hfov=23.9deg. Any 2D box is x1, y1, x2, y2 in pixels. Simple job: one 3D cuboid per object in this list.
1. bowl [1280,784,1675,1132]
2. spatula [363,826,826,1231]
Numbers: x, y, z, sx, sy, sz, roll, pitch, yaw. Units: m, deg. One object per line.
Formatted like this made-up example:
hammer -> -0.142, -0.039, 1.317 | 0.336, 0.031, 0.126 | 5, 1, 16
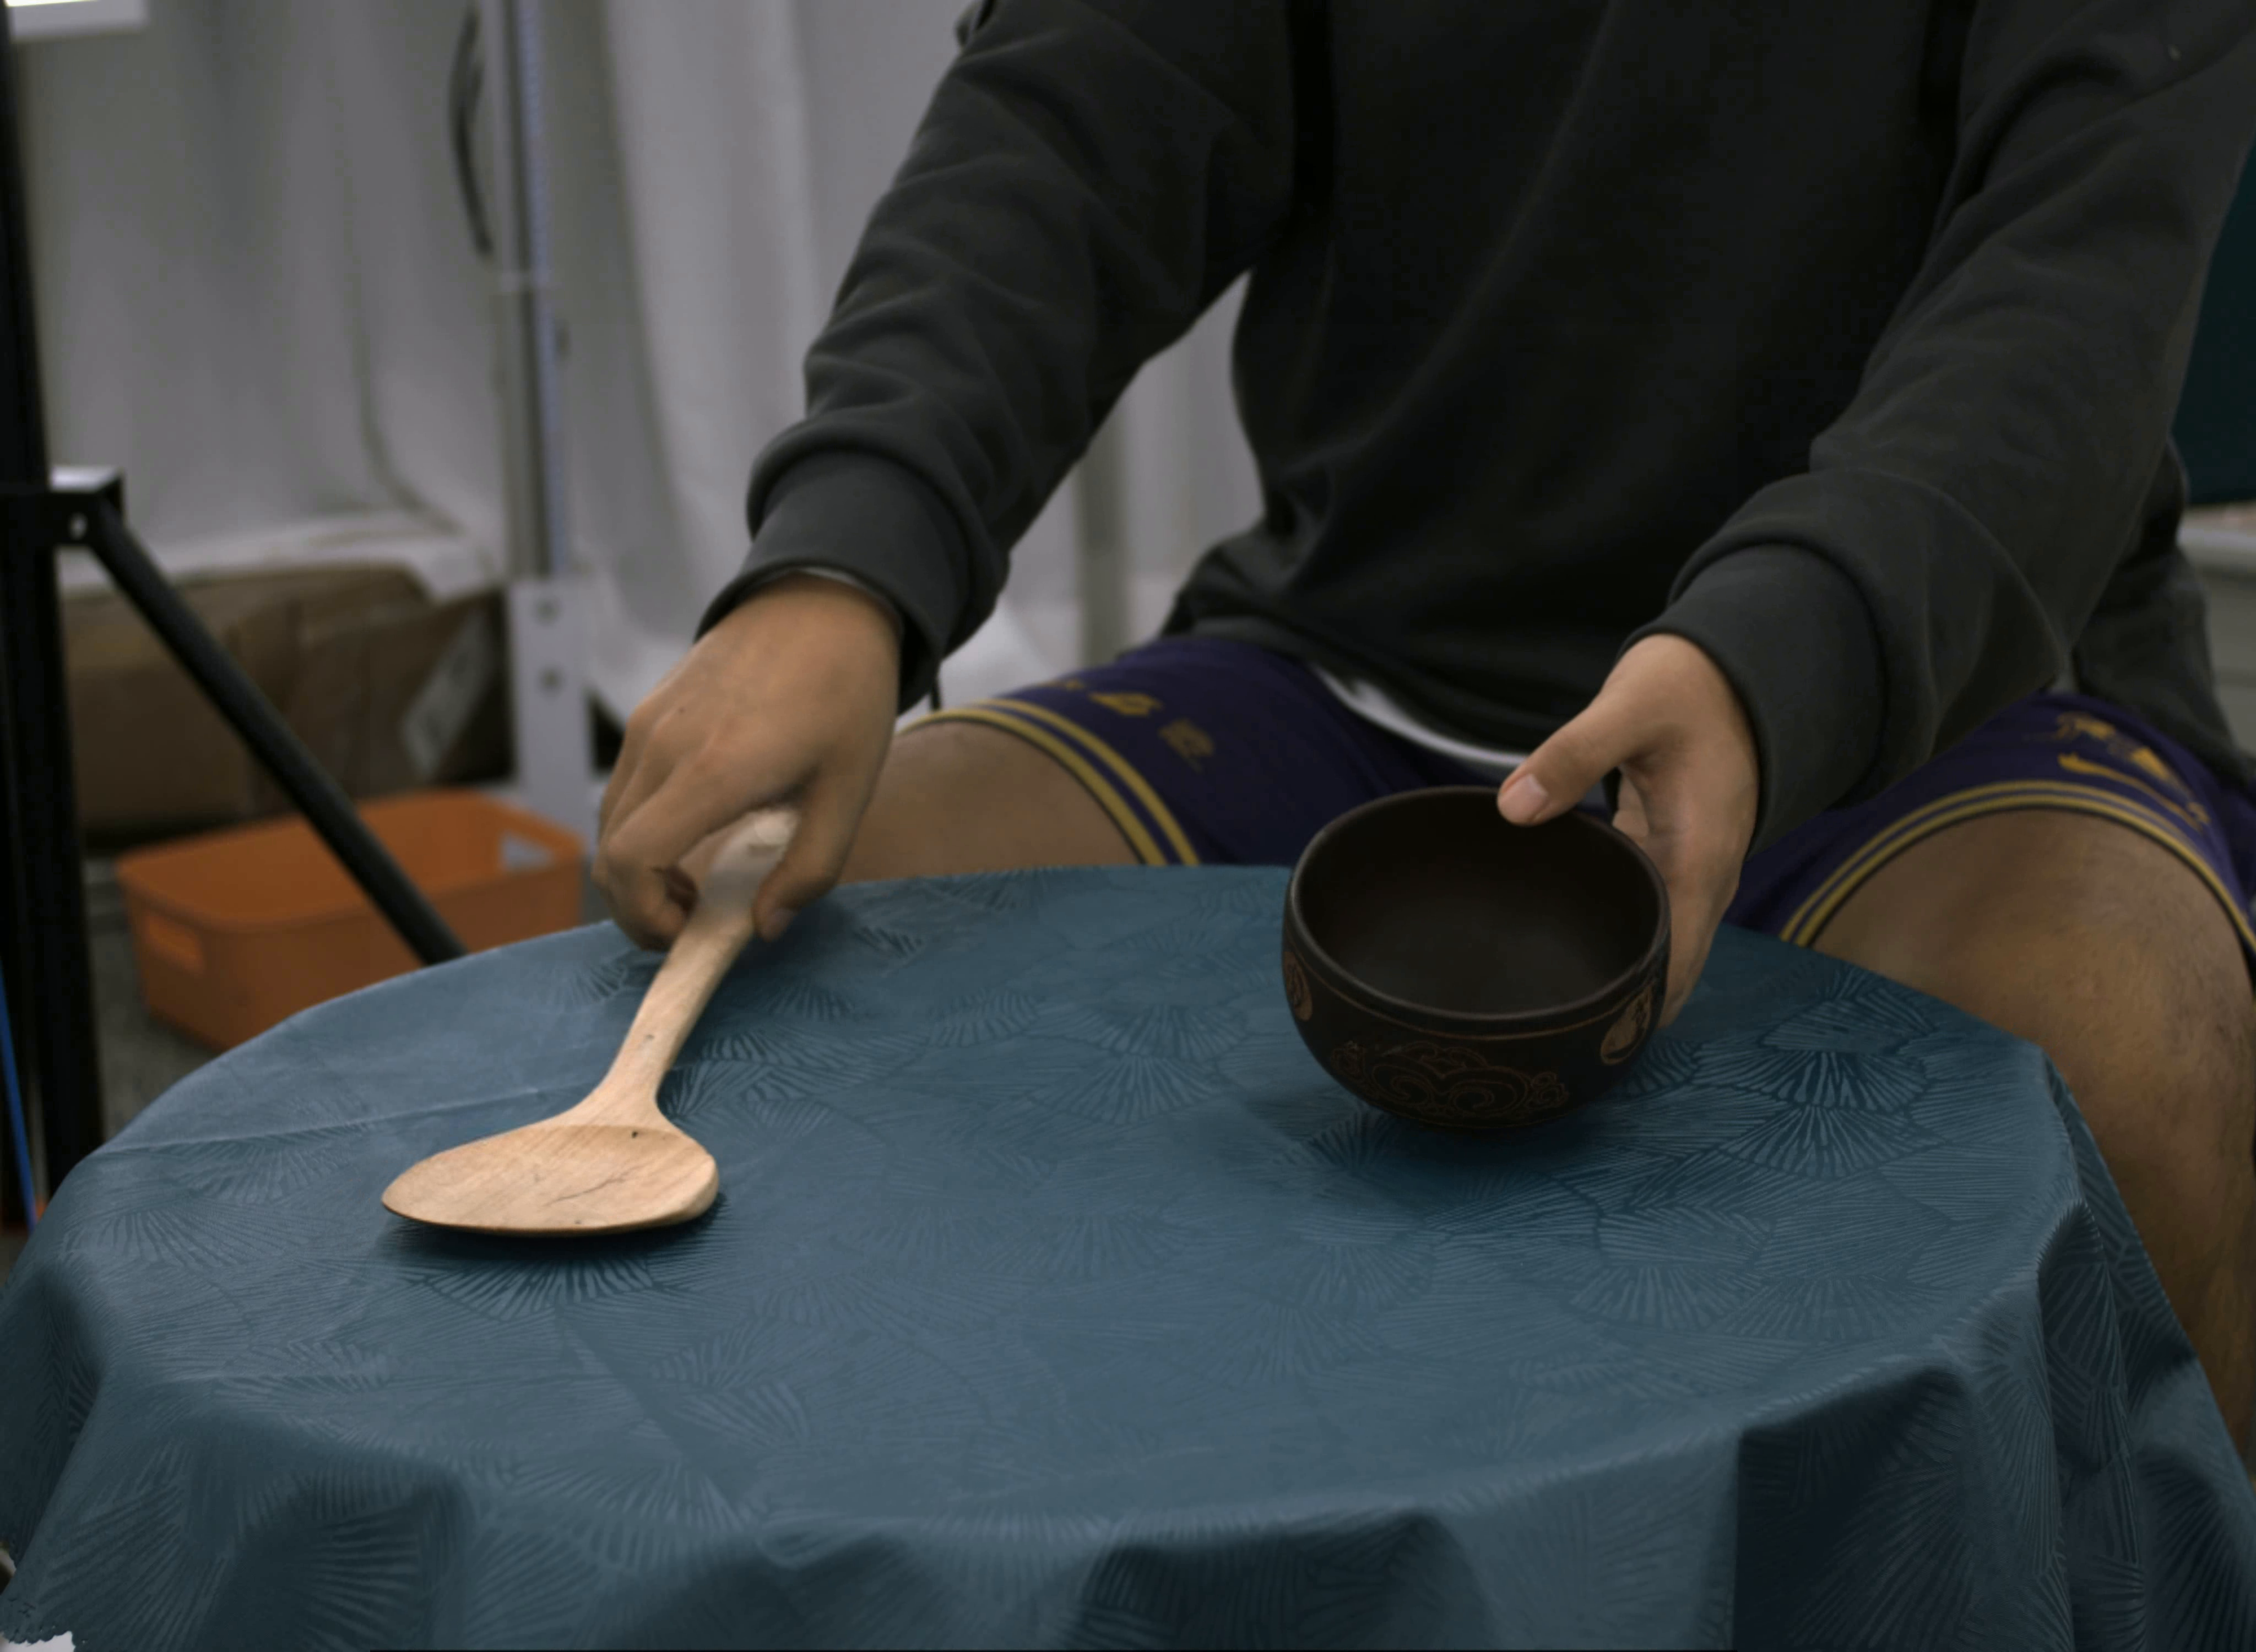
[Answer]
bowl -> 0.104, 0.048, 1.597 | 0.117, 0.069, 0.119 | 0, 35, -2
spatula -> -0.150, 0.060, 1.709 | 0.096, 0.018, 0.390 | 2, 19, 8
